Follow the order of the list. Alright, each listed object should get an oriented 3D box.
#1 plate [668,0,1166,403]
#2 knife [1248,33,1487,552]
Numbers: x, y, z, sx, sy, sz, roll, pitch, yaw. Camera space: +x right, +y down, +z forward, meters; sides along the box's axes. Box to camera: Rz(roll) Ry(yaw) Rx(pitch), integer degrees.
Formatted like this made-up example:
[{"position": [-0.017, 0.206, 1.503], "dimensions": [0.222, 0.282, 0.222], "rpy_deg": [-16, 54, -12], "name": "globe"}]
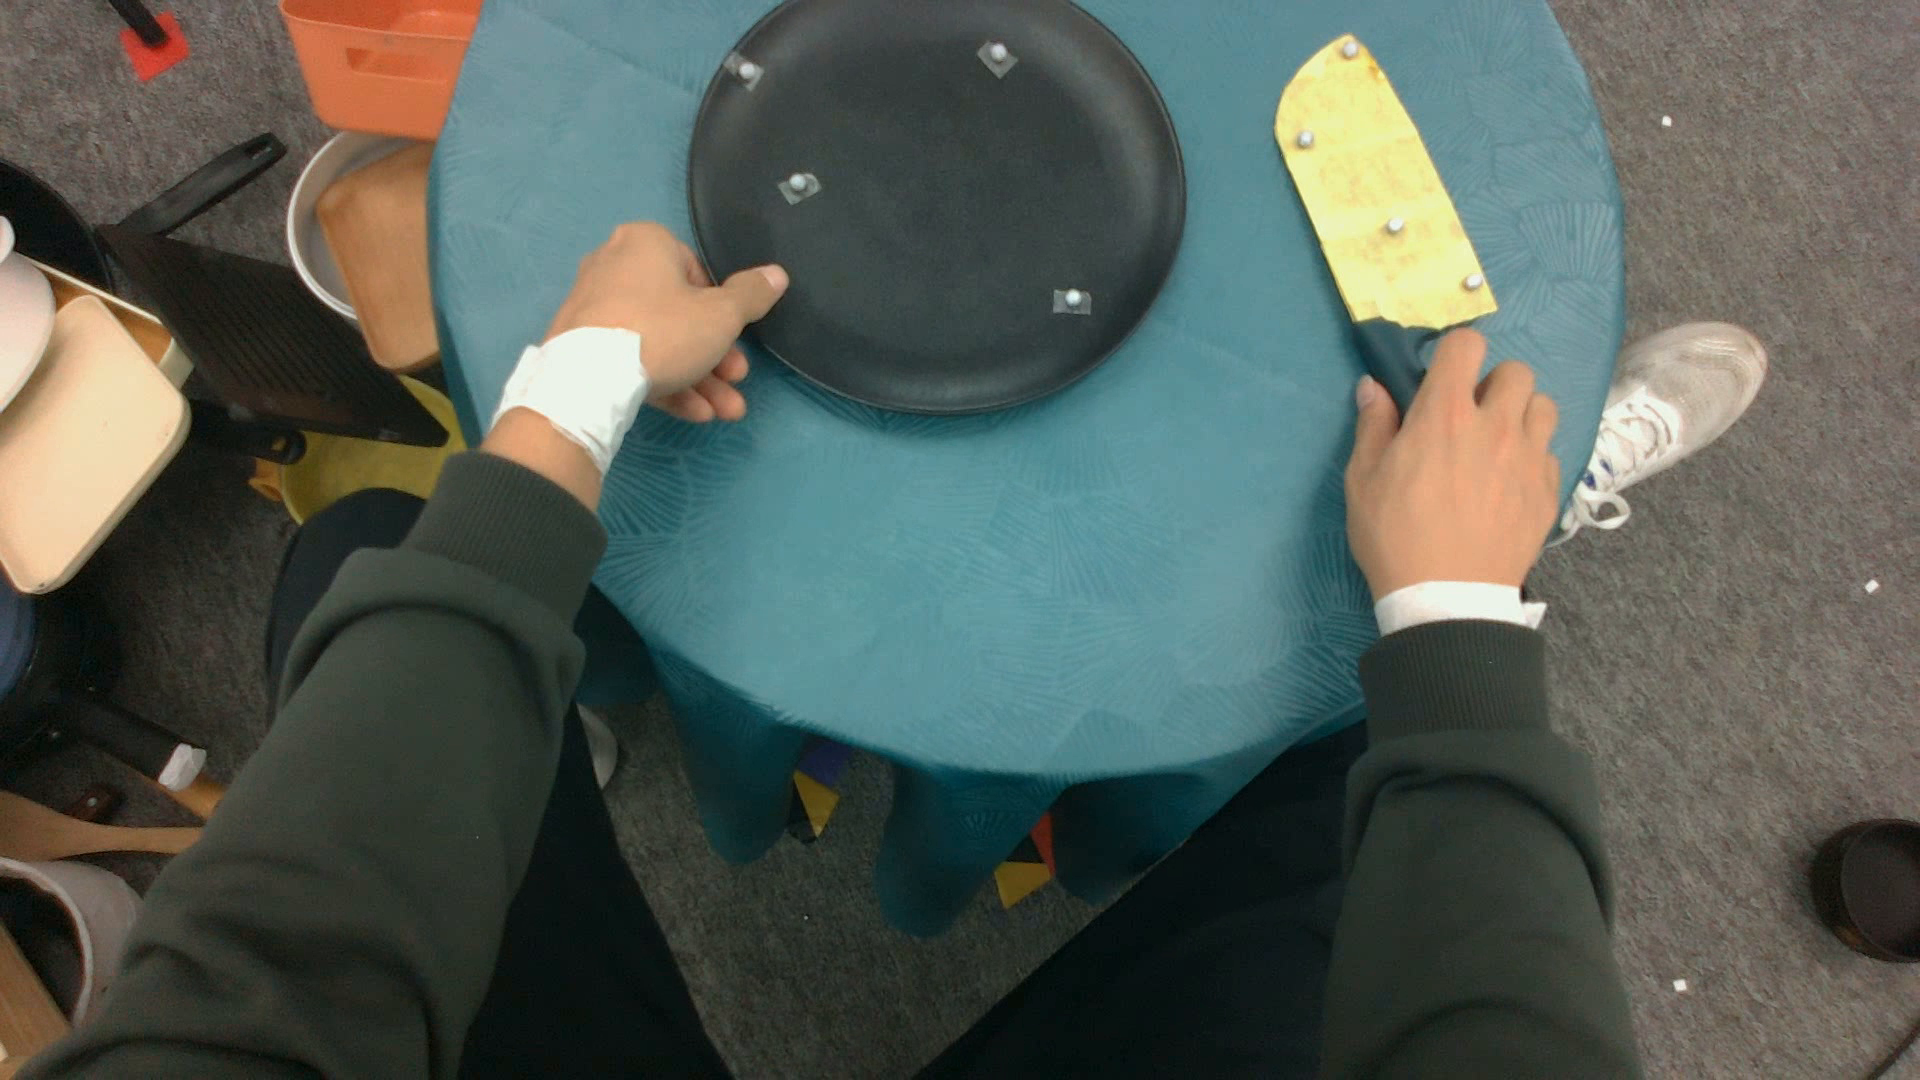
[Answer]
[{"position": [-0.020, -0.180, 0.679], "dimensions": [0.244, 0.023, 0.245], "rpy_deg": [1, 75, -5], "name": "plate"}, {"position": [0.214, -0.133, 0.693], "dimensions": [0.081, 0.027, 0.290], "rpy_deg": [-14, 76, -6], "name": "knife"}]
